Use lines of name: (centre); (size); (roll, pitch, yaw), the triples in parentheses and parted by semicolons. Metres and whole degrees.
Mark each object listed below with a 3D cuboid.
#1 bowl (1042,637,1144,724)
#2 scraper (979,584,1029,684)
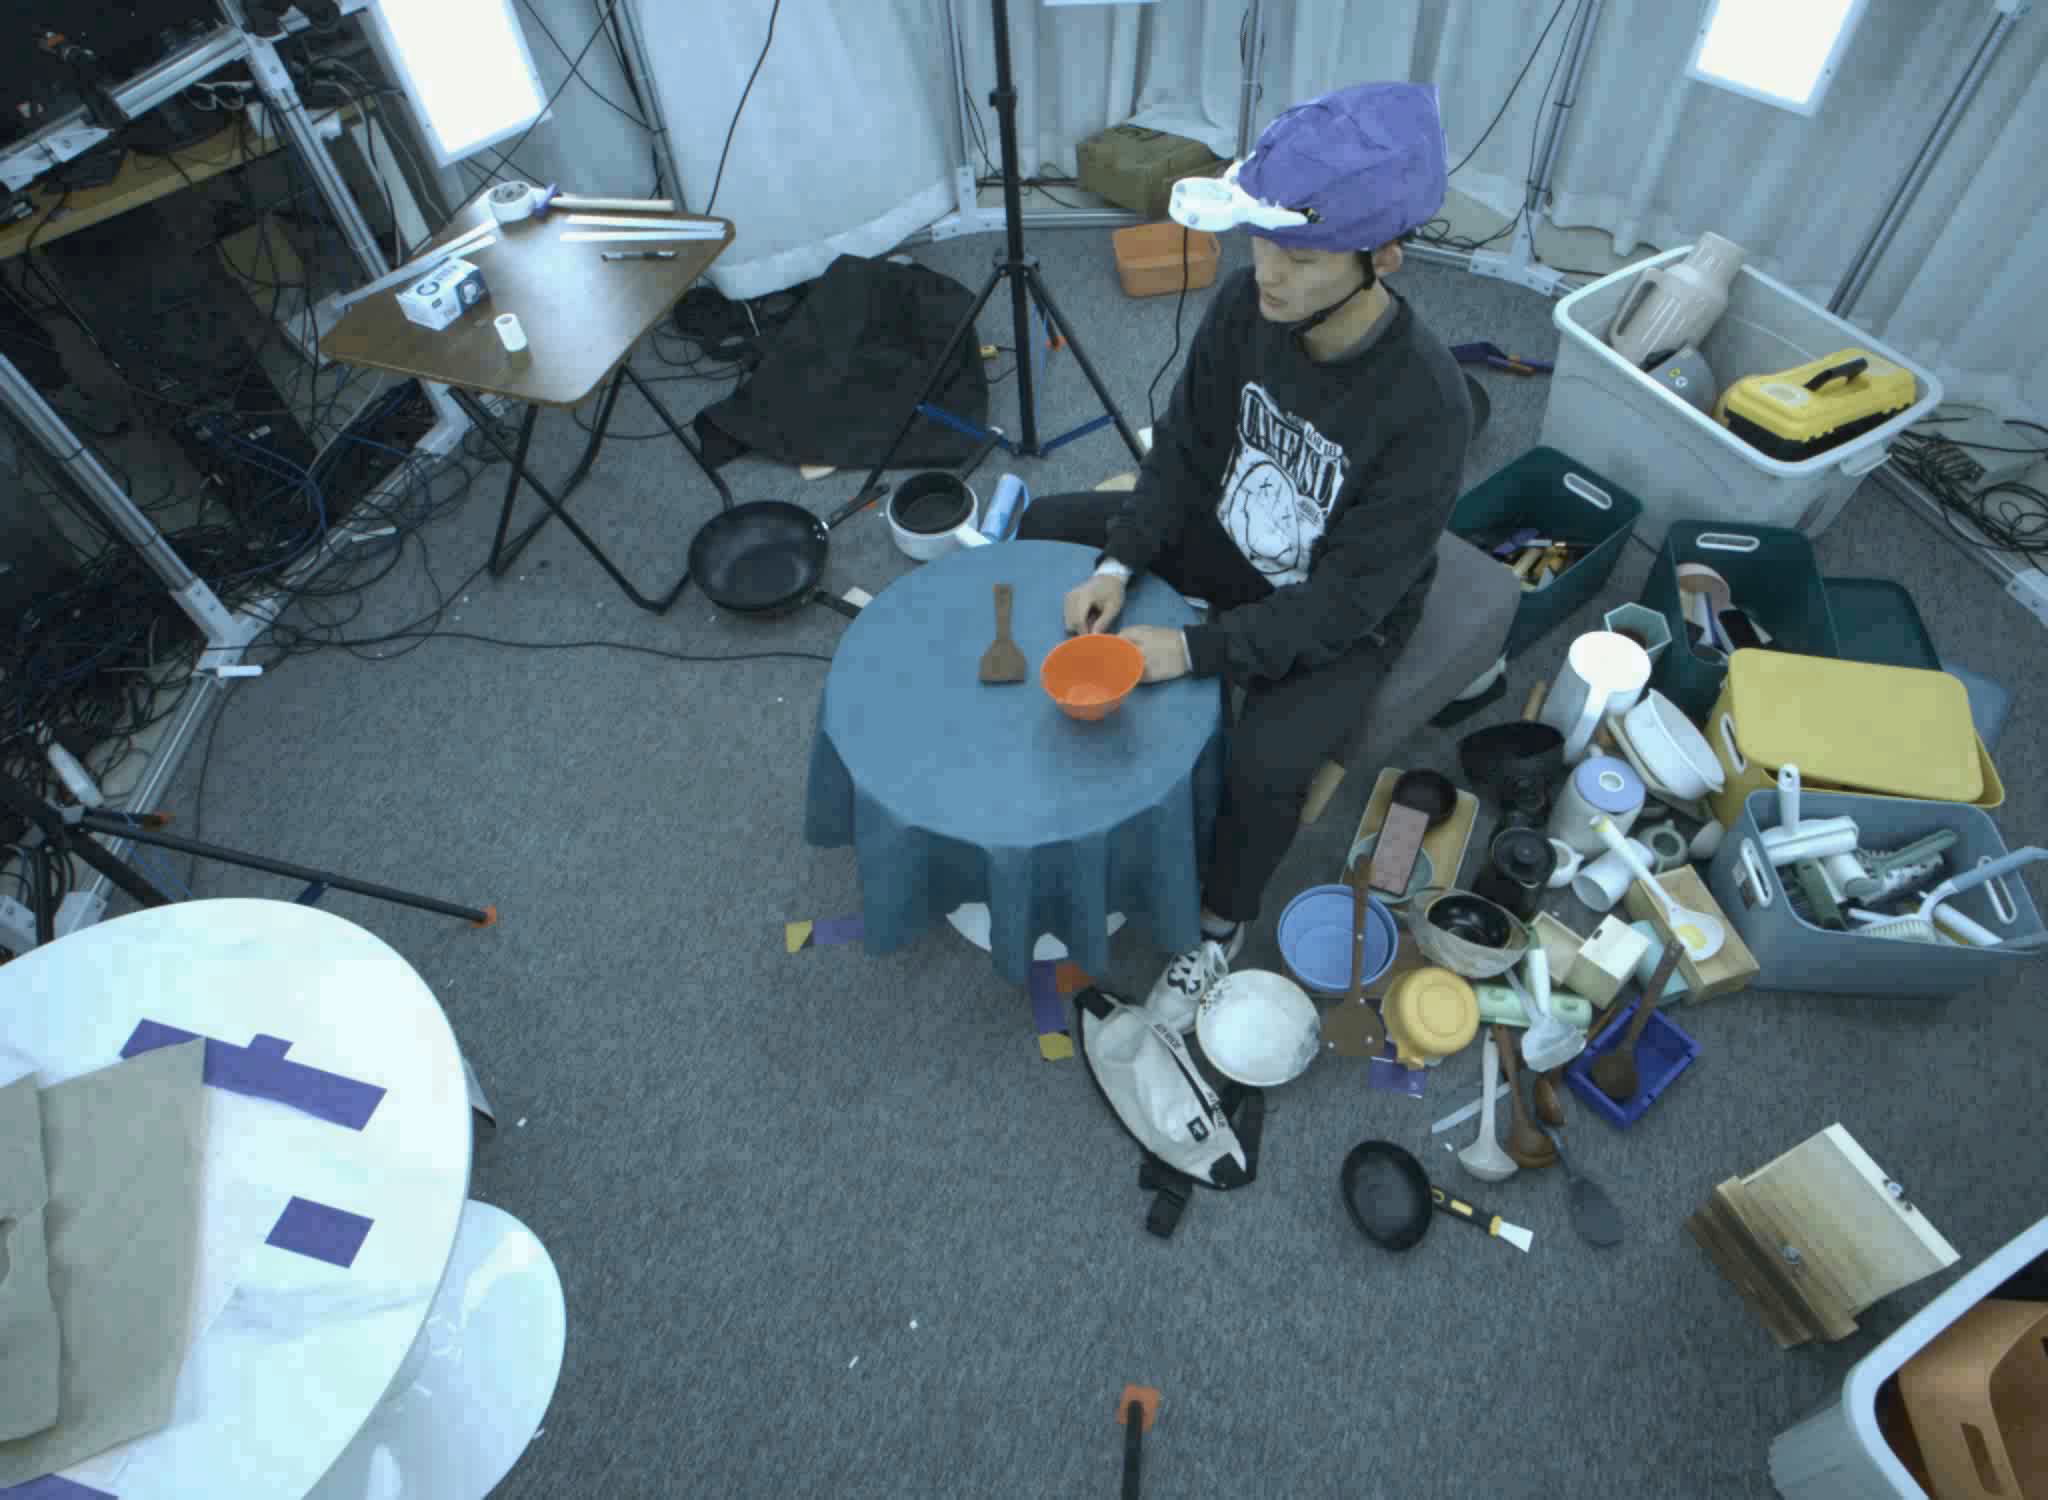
bowl: (0.100, -0.087, 1.794); (0.148, 0.106, 0.146); (-1, 55, 2)
scraper: (-0.031, -0.183, 1.922); (0.076, 0.011, 0.209); (0, 54, -1)
